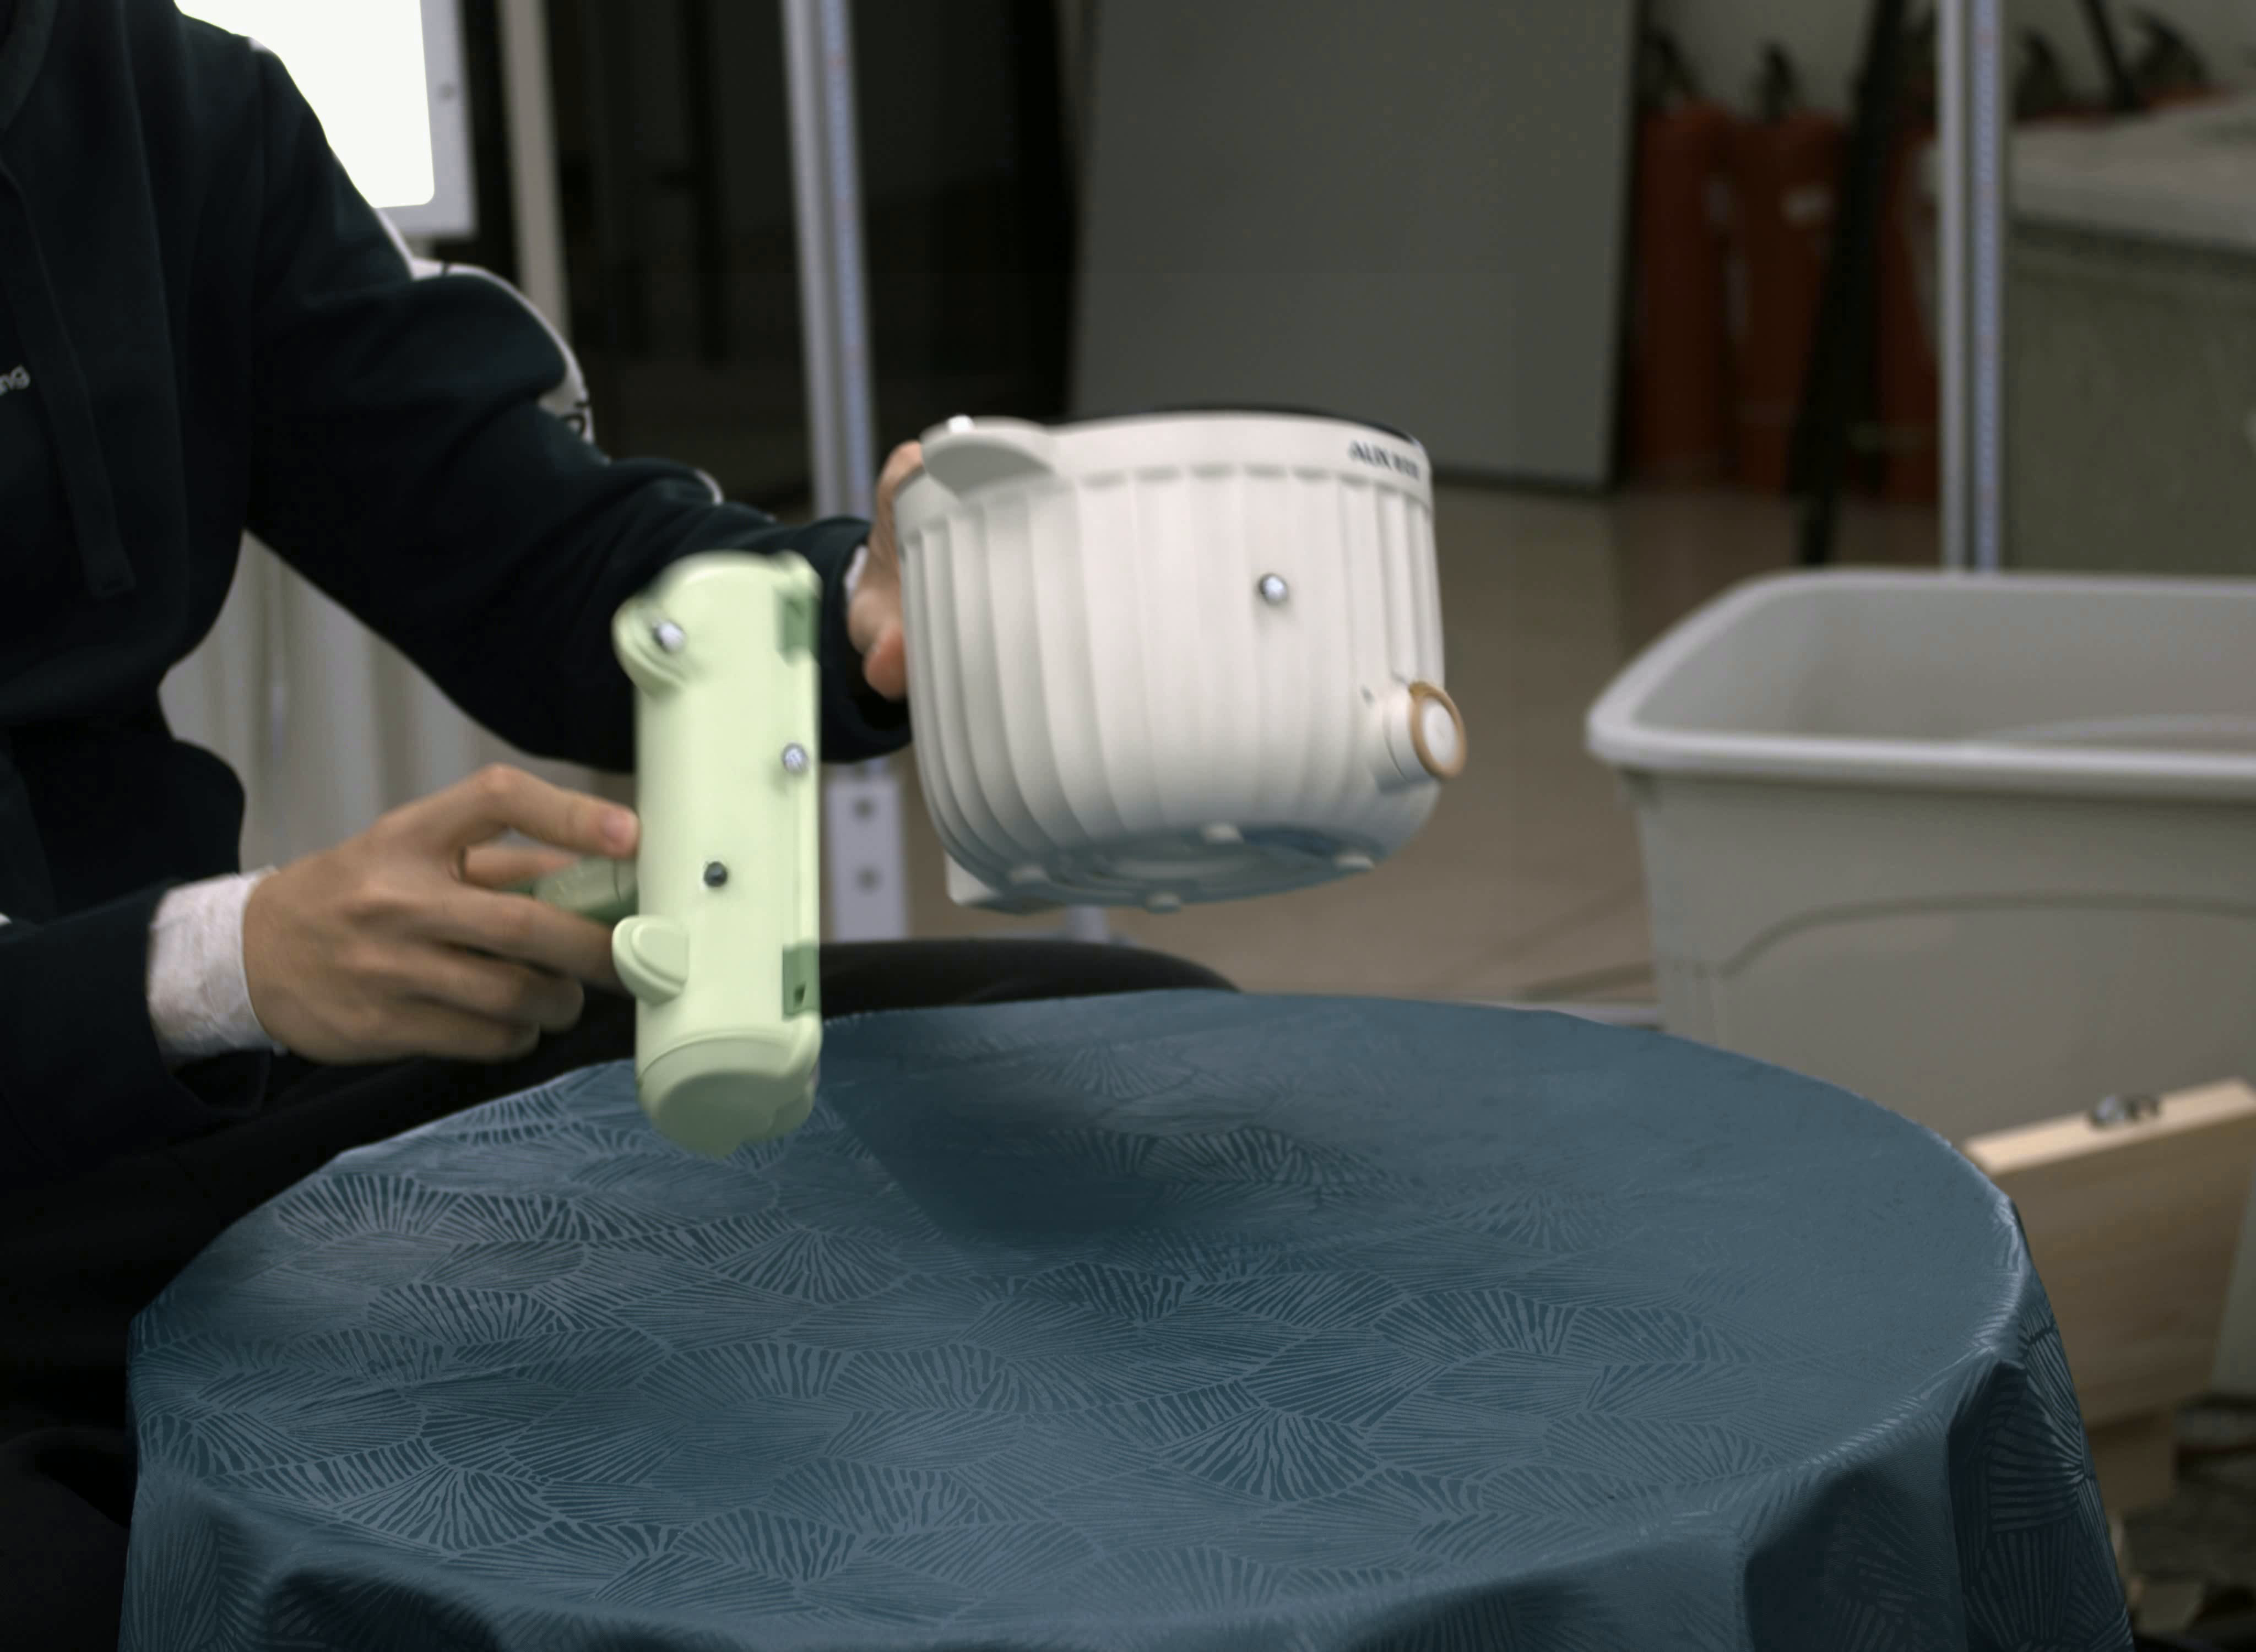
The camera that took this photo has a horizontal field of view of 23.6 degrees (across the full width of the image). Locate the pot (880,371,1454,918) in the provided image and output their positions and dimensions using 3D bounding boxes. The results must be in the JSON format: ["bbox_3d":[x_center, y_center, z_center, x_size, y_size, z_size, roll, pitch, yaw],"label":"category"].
[{"bbox_3d":[0.017,-0.055,1.784,0.191,0.144,0.236,-18,-19,33],"label":"pot"}]

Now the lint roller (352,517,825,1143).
[{"bbox_3d":[-0.177,0.013,1.670,0.183,0.201,0.081,-20,-35,20],"label":"lint roller"}]
